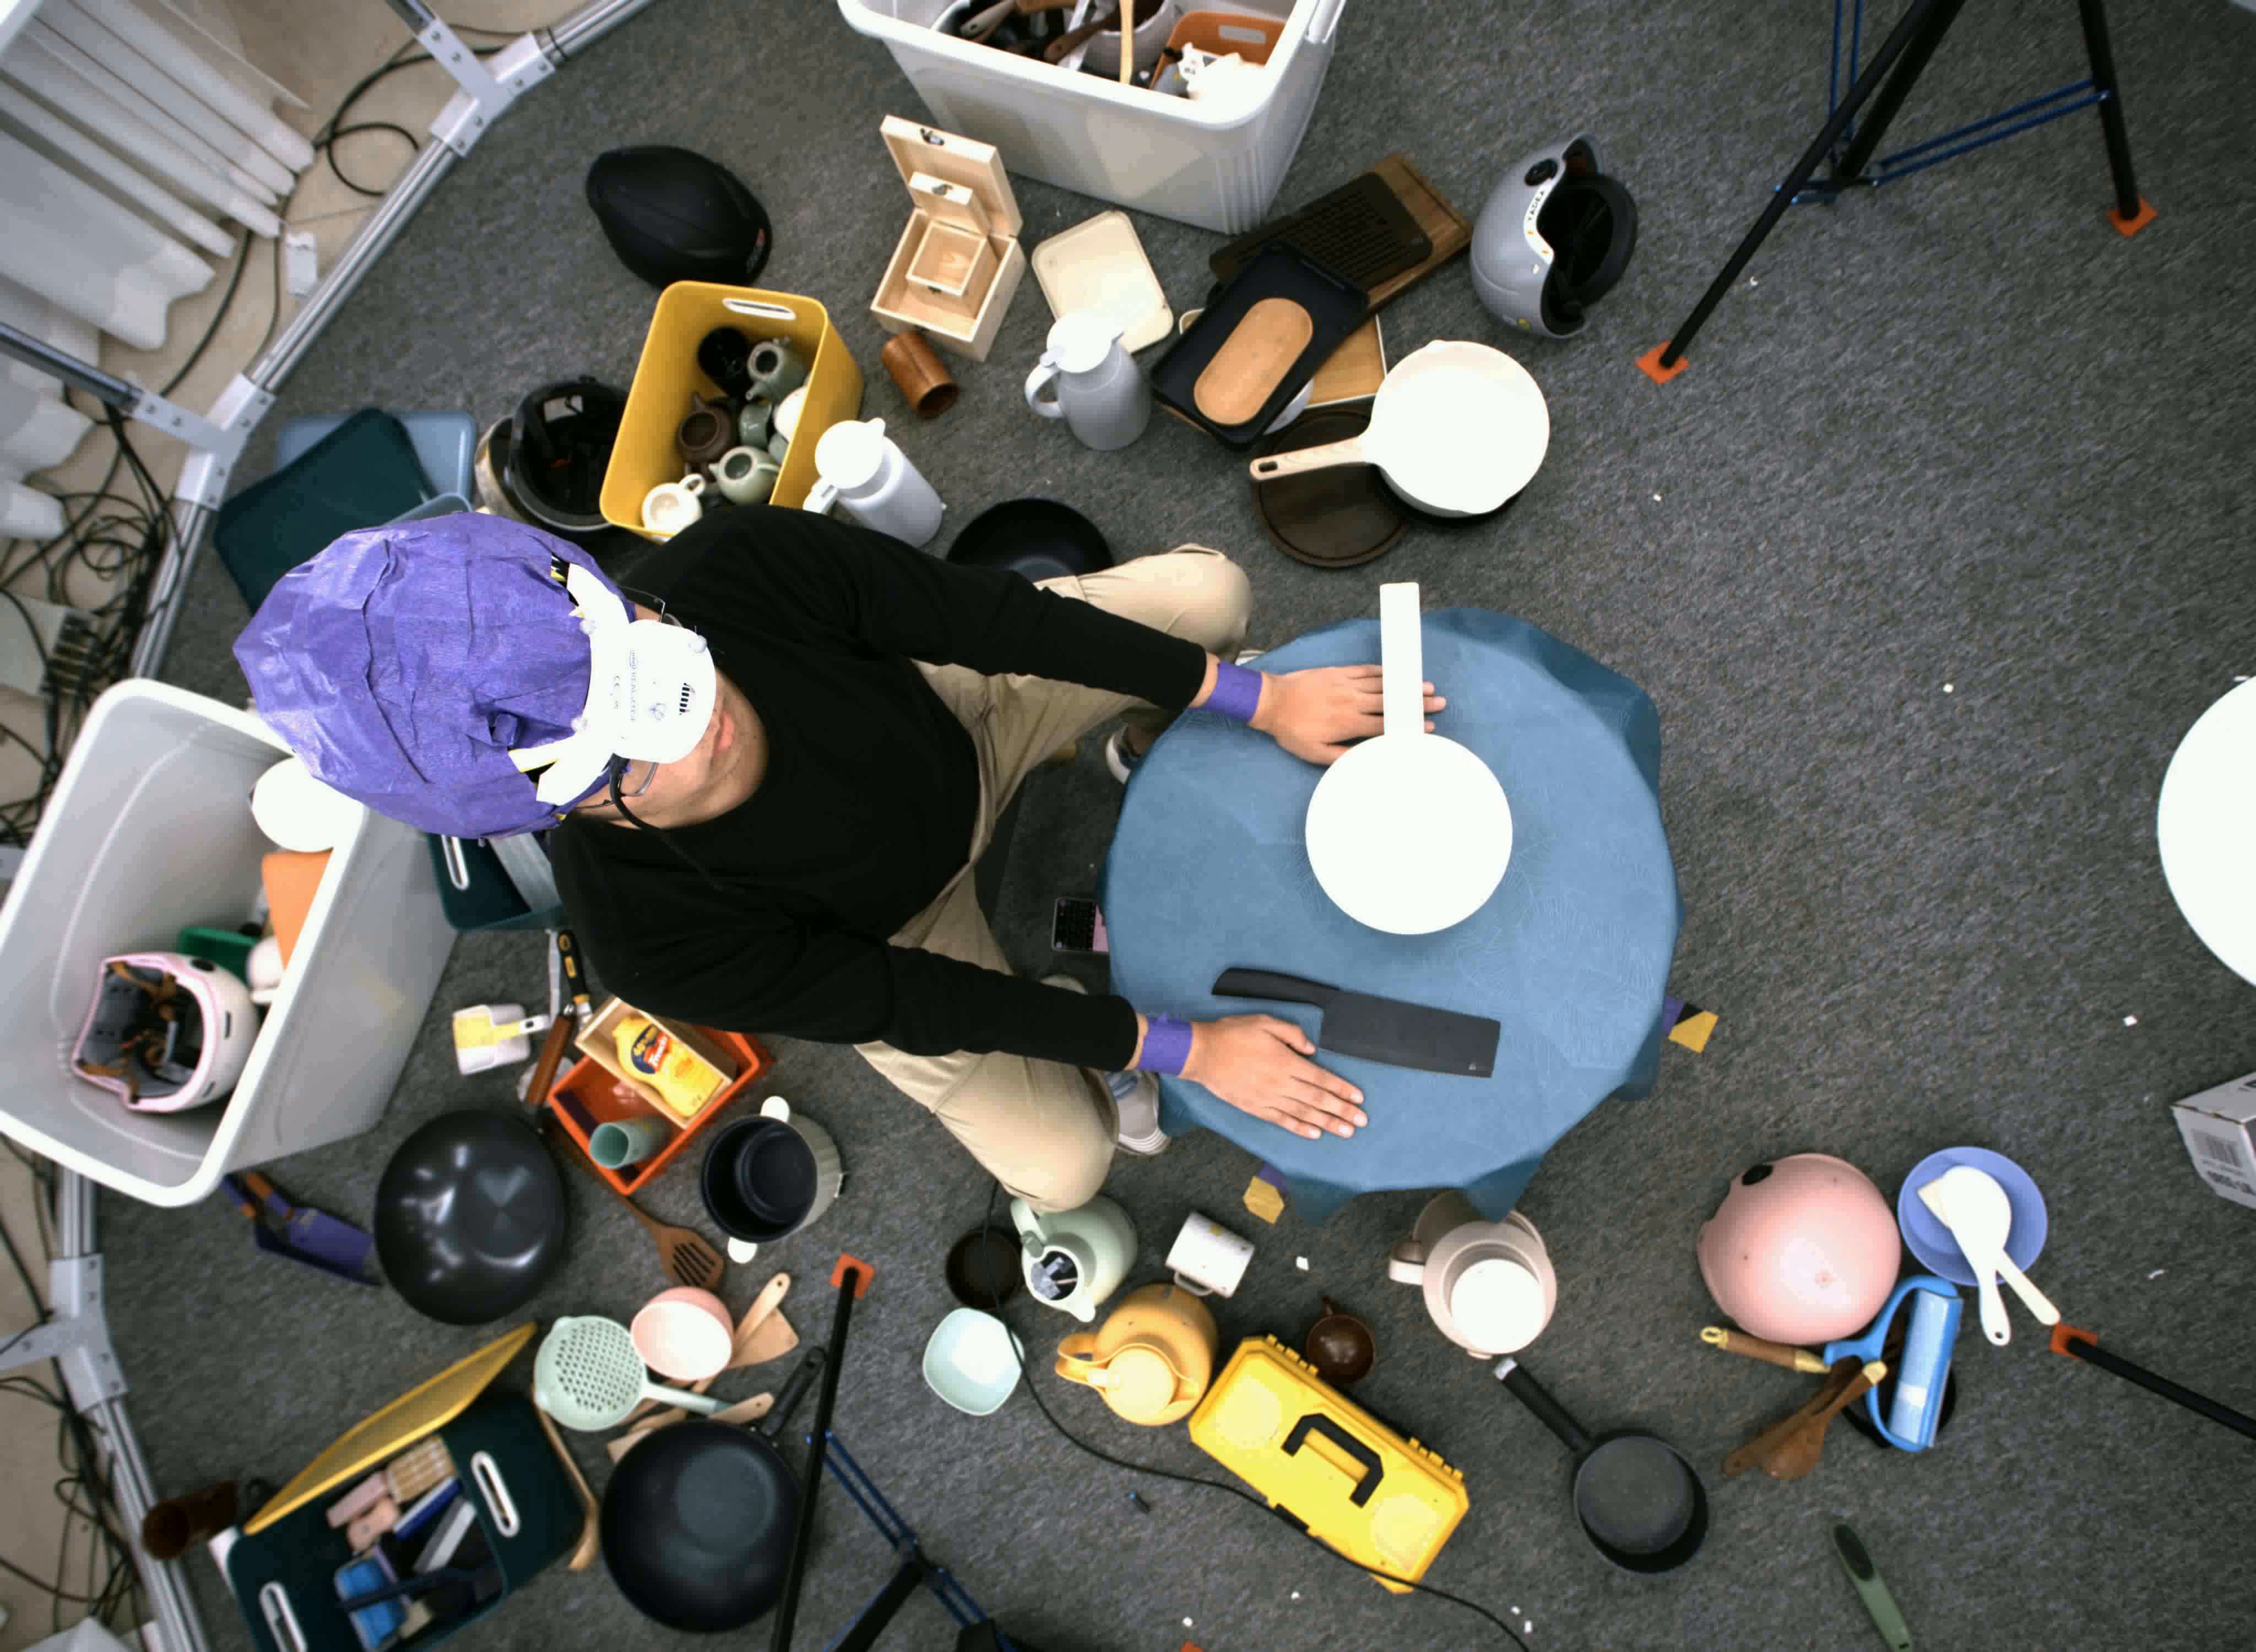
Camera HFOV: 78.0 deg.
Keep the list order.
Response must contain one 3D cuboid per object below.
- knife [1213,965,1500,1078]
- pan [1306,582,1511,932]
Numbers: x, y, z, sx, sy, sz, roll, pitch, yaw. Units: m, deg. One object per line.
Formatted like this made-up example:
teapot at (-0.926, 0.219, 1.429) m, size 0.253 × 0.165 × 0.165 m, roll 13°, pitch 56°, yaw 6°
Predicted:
knife at (0.238, 0.200, 1.454) m, size 0.302 × 0.021 × 0.081 m, roll 15°, pitch 91°, yaw 9°
pan at (0.286, -0.068, 1.417) m, size 0.202 × 0.102 × 0.353 m, roll -1°, pitch 86°, yaw 11°
